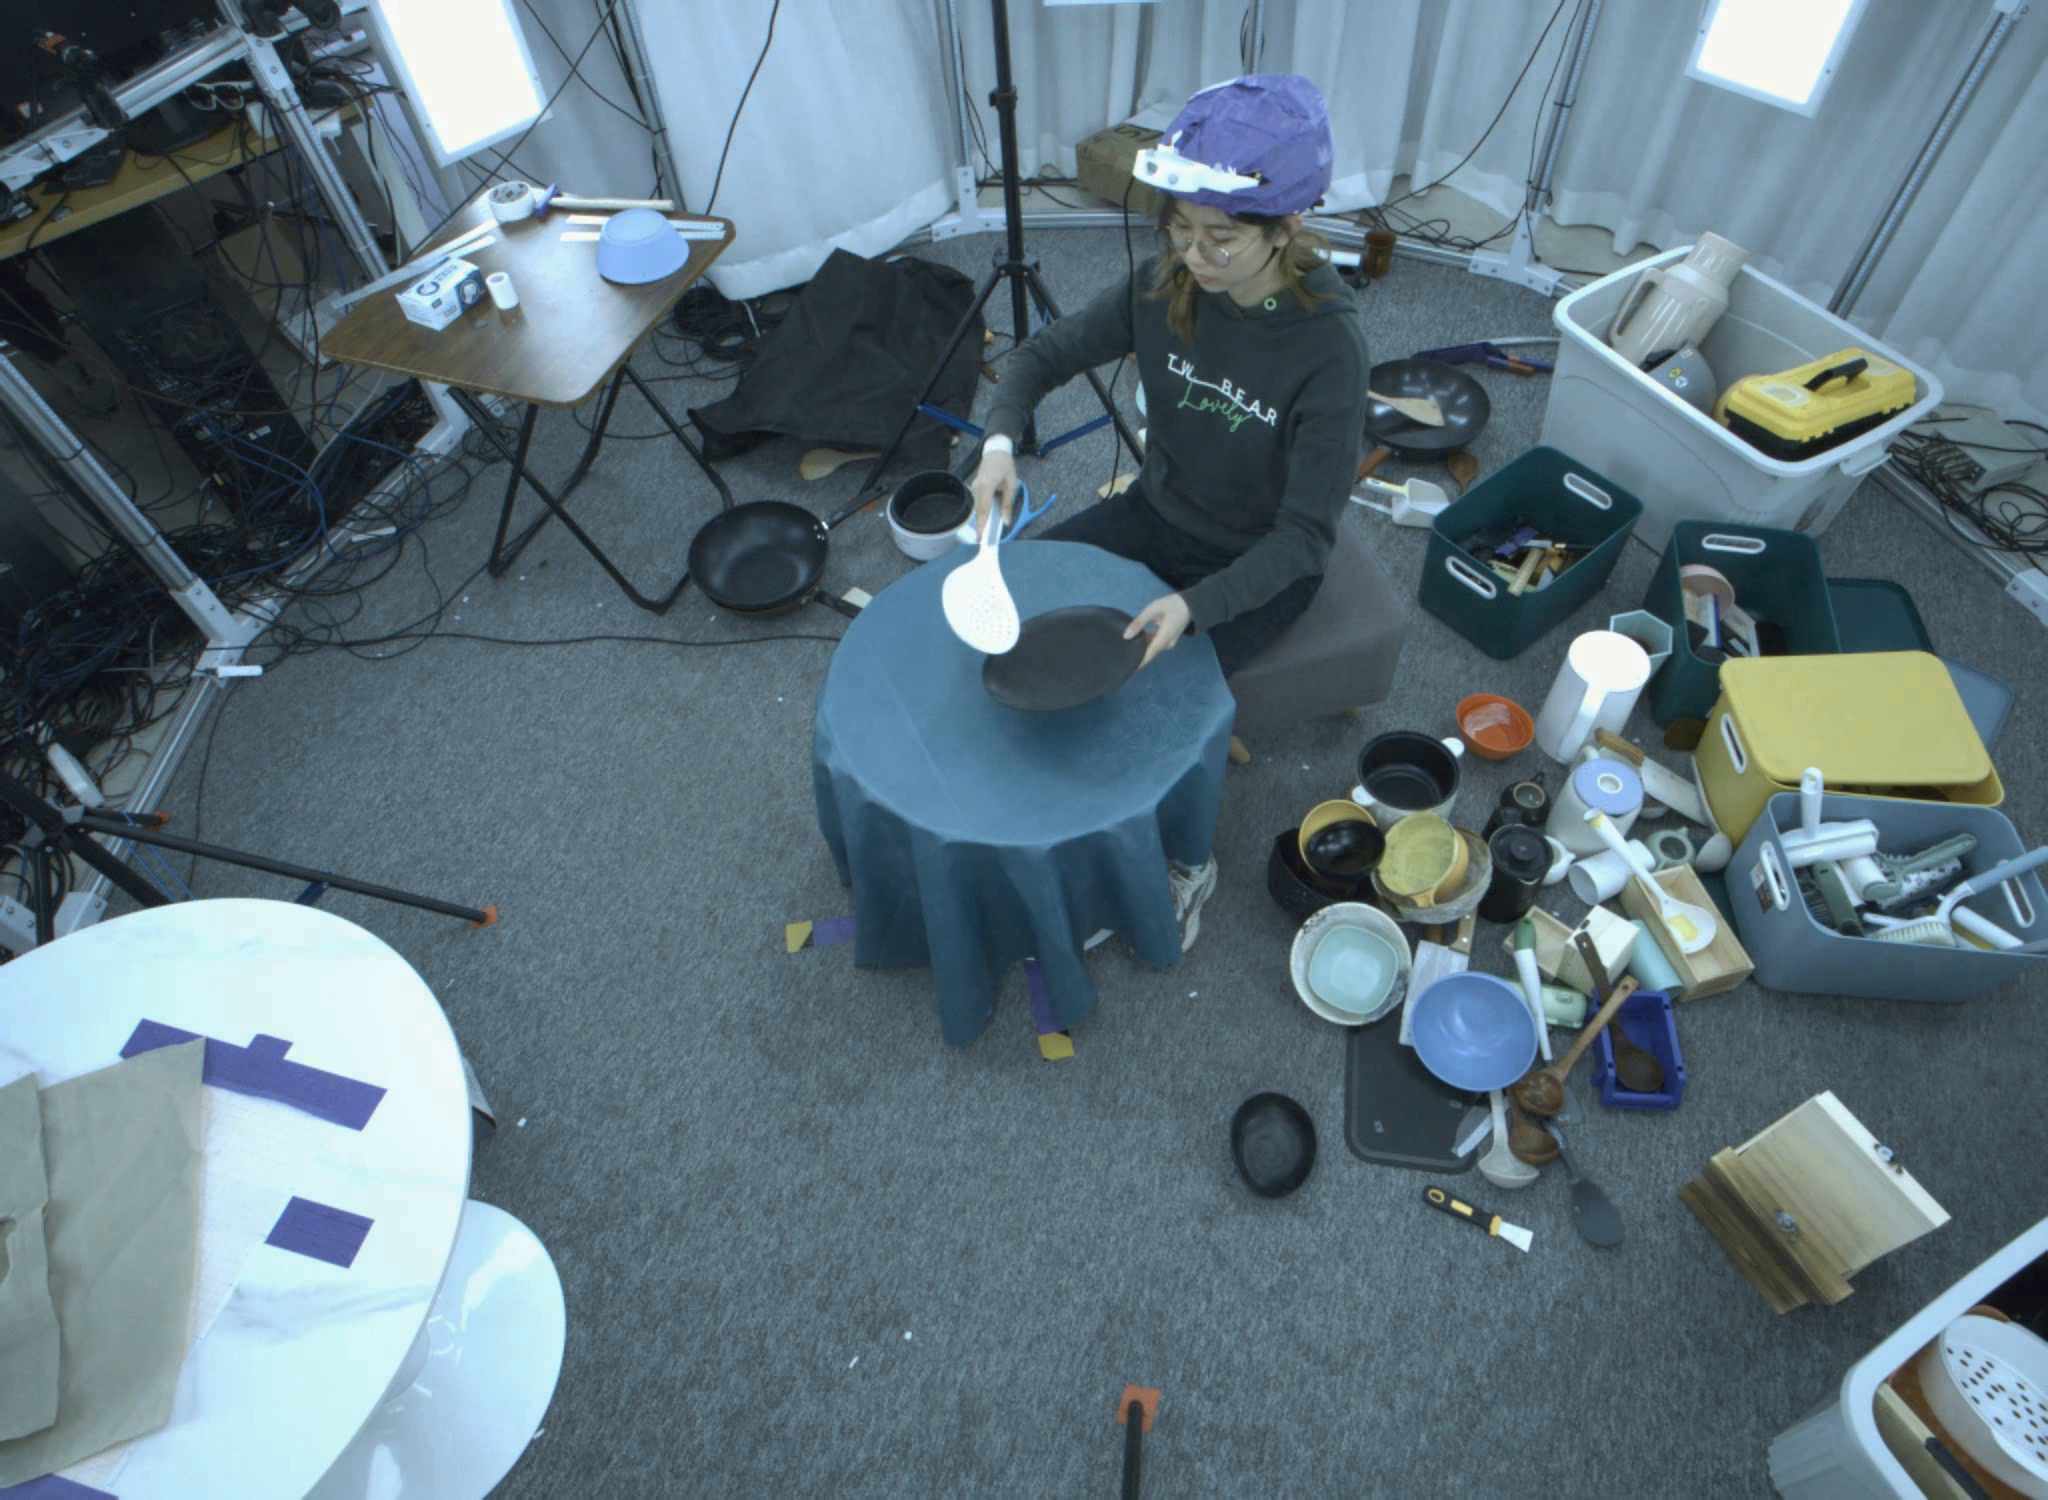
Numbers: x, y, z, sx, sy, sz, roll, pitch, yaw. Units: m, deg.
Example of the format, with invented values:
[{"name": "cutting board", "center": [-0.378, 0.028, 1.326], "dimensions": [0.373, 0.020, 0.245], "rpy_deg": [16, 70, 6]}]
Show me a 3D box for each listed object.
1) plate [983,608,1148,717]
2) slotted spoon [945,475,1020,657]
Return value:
[{"name": "plate", "center": [0.060, -0.122, 1.767], "dimensions": [0.243, 0.024, 0.242], "rpy_deg": [-10, 41, 10]}, {"name": "slotted spoon", "center": [-0.051, -0.282, 1.819], "dimensions": [0.139, 0.045, 0.347], "rpy_deg": [30, 55, -31]}]
